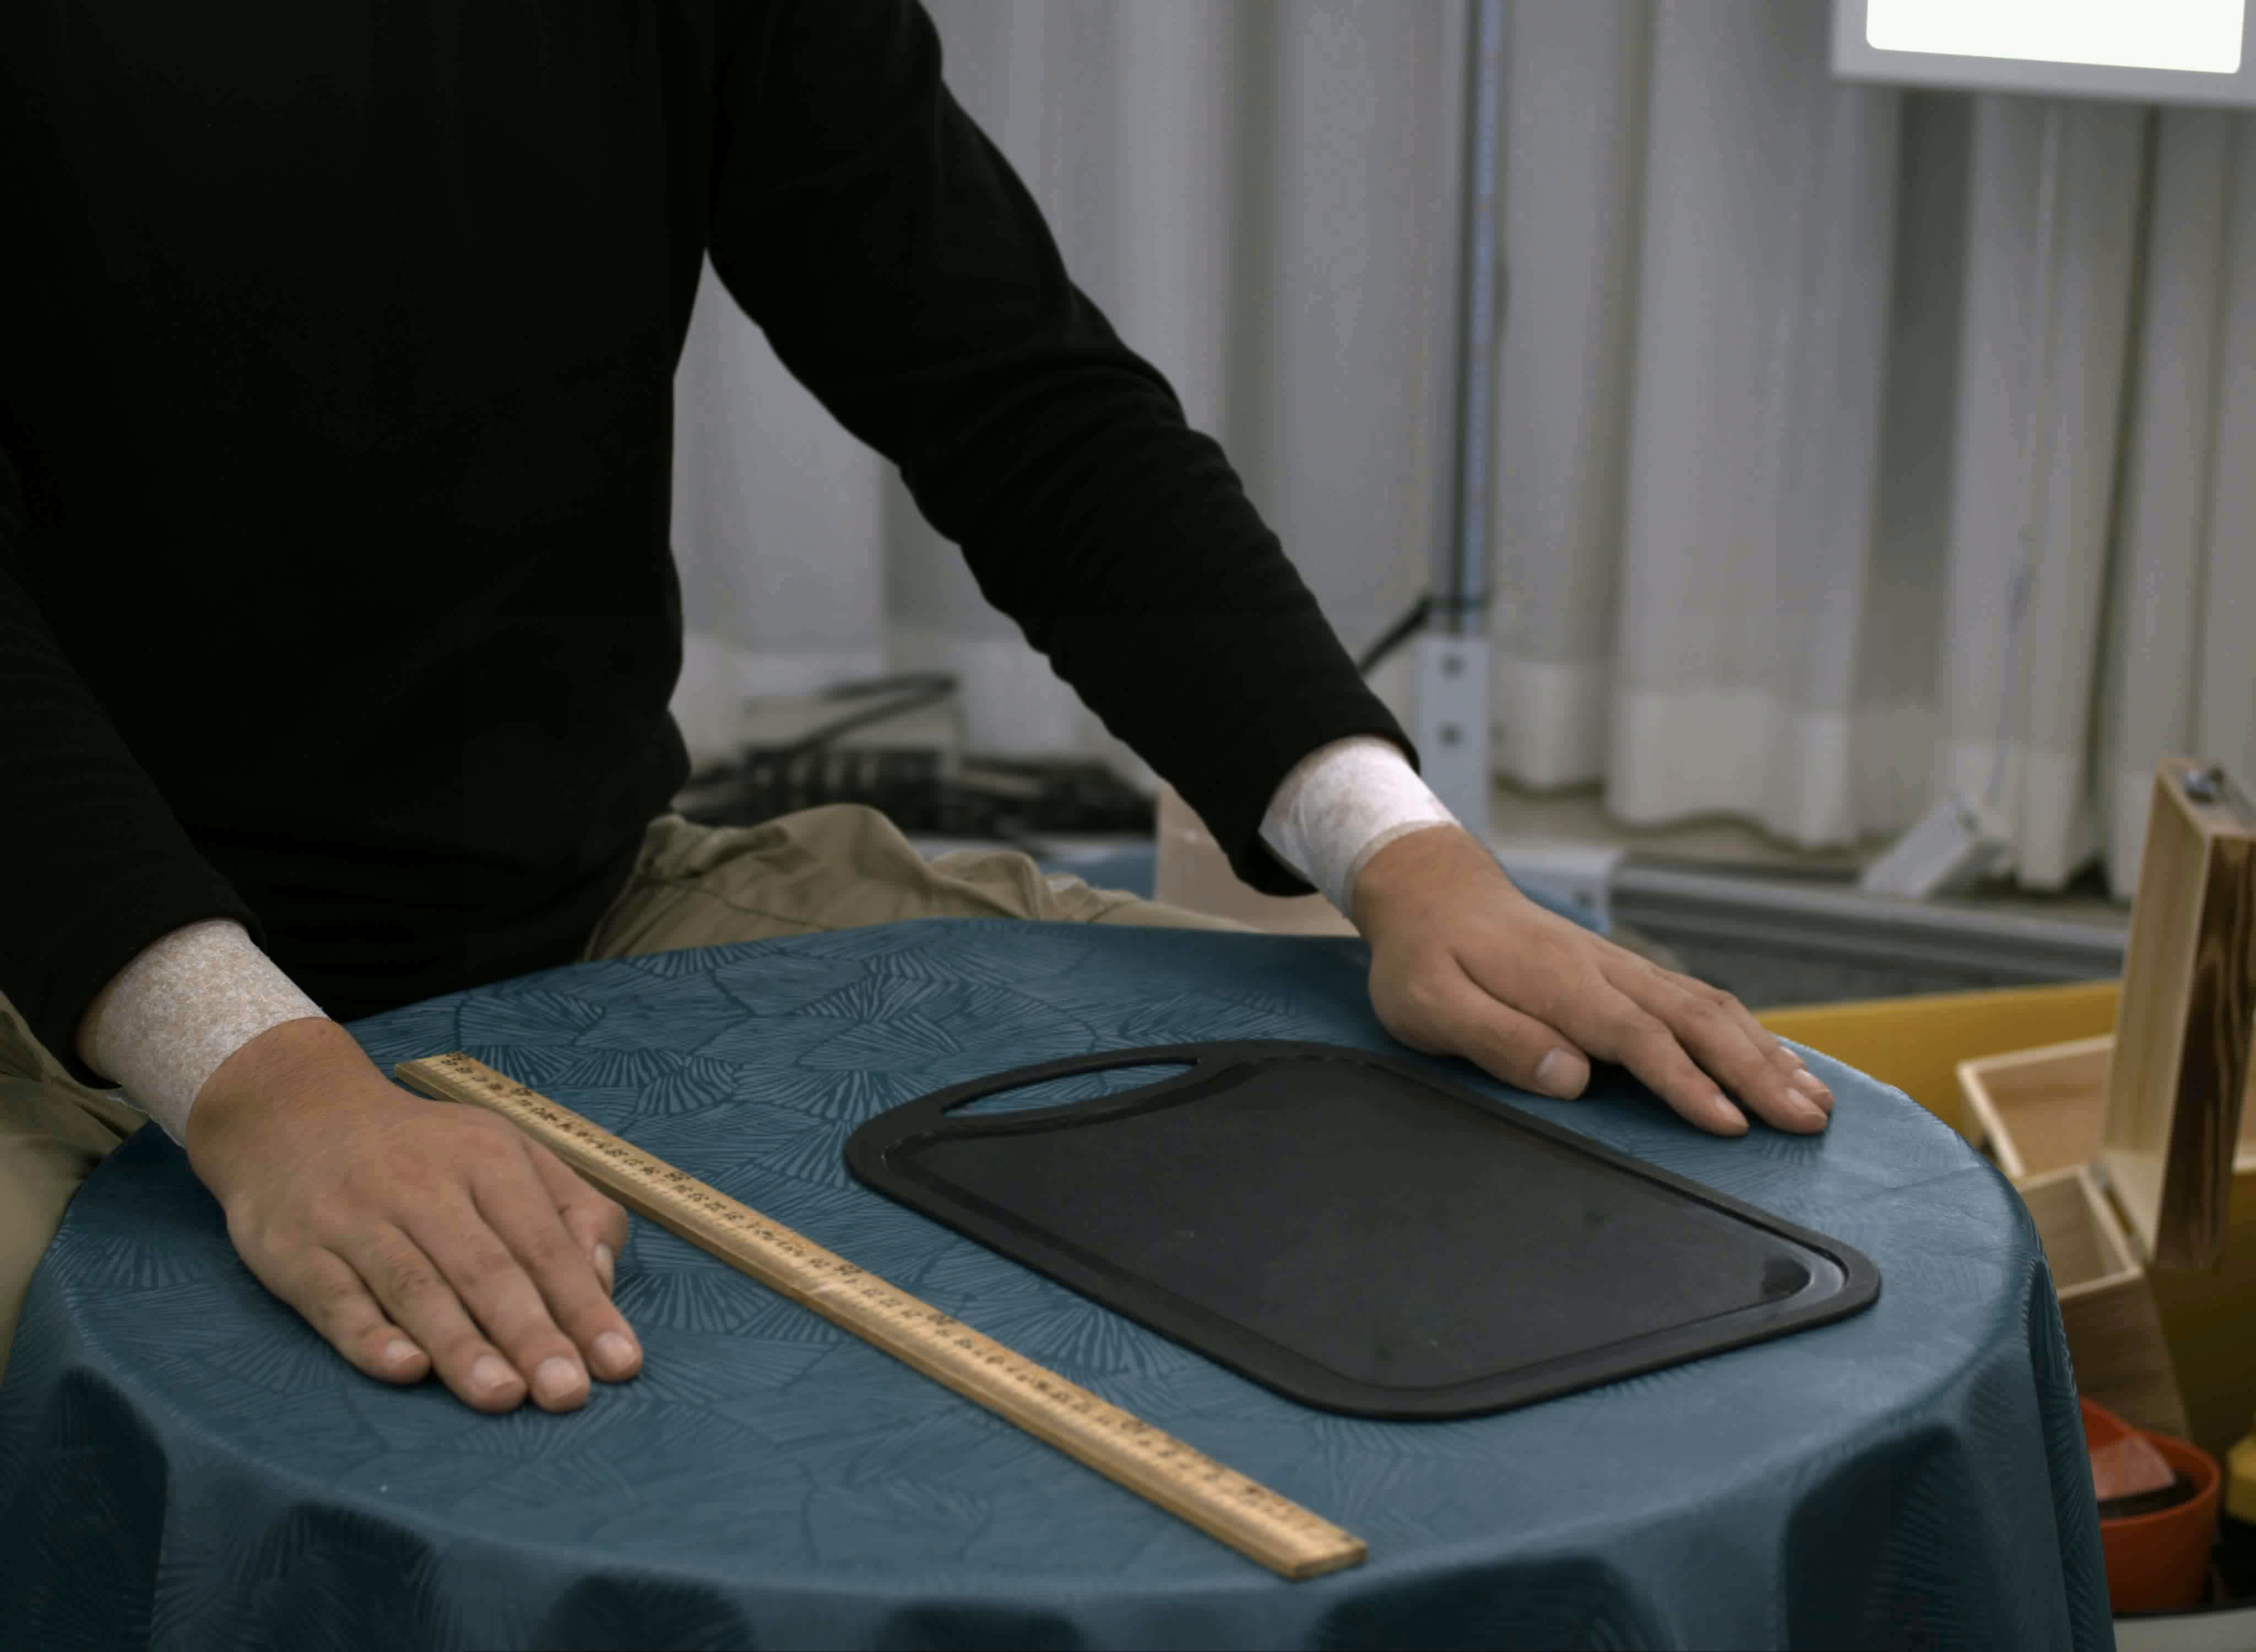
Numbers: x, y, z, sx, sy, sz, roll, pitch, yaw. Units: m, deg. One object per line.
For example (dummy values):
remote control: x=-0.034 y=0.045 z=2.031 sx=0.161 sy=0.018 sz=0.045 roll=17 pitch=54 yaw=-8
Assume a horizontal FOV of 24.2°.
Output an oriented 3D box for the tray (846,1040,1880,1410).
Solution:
tray: x=0.060 y=0.114 z=1.605 sx=0.212 sy=0.010 sz=0.321 roll=-10 pitch=18 yaw=-34

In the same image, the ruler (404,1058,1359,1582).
ruler: x=-0.088 y=0.133 z=1.533 sx=0.027 sy=0.006 sz=0.494 roll=-7 pitch=17 yaw=-34
